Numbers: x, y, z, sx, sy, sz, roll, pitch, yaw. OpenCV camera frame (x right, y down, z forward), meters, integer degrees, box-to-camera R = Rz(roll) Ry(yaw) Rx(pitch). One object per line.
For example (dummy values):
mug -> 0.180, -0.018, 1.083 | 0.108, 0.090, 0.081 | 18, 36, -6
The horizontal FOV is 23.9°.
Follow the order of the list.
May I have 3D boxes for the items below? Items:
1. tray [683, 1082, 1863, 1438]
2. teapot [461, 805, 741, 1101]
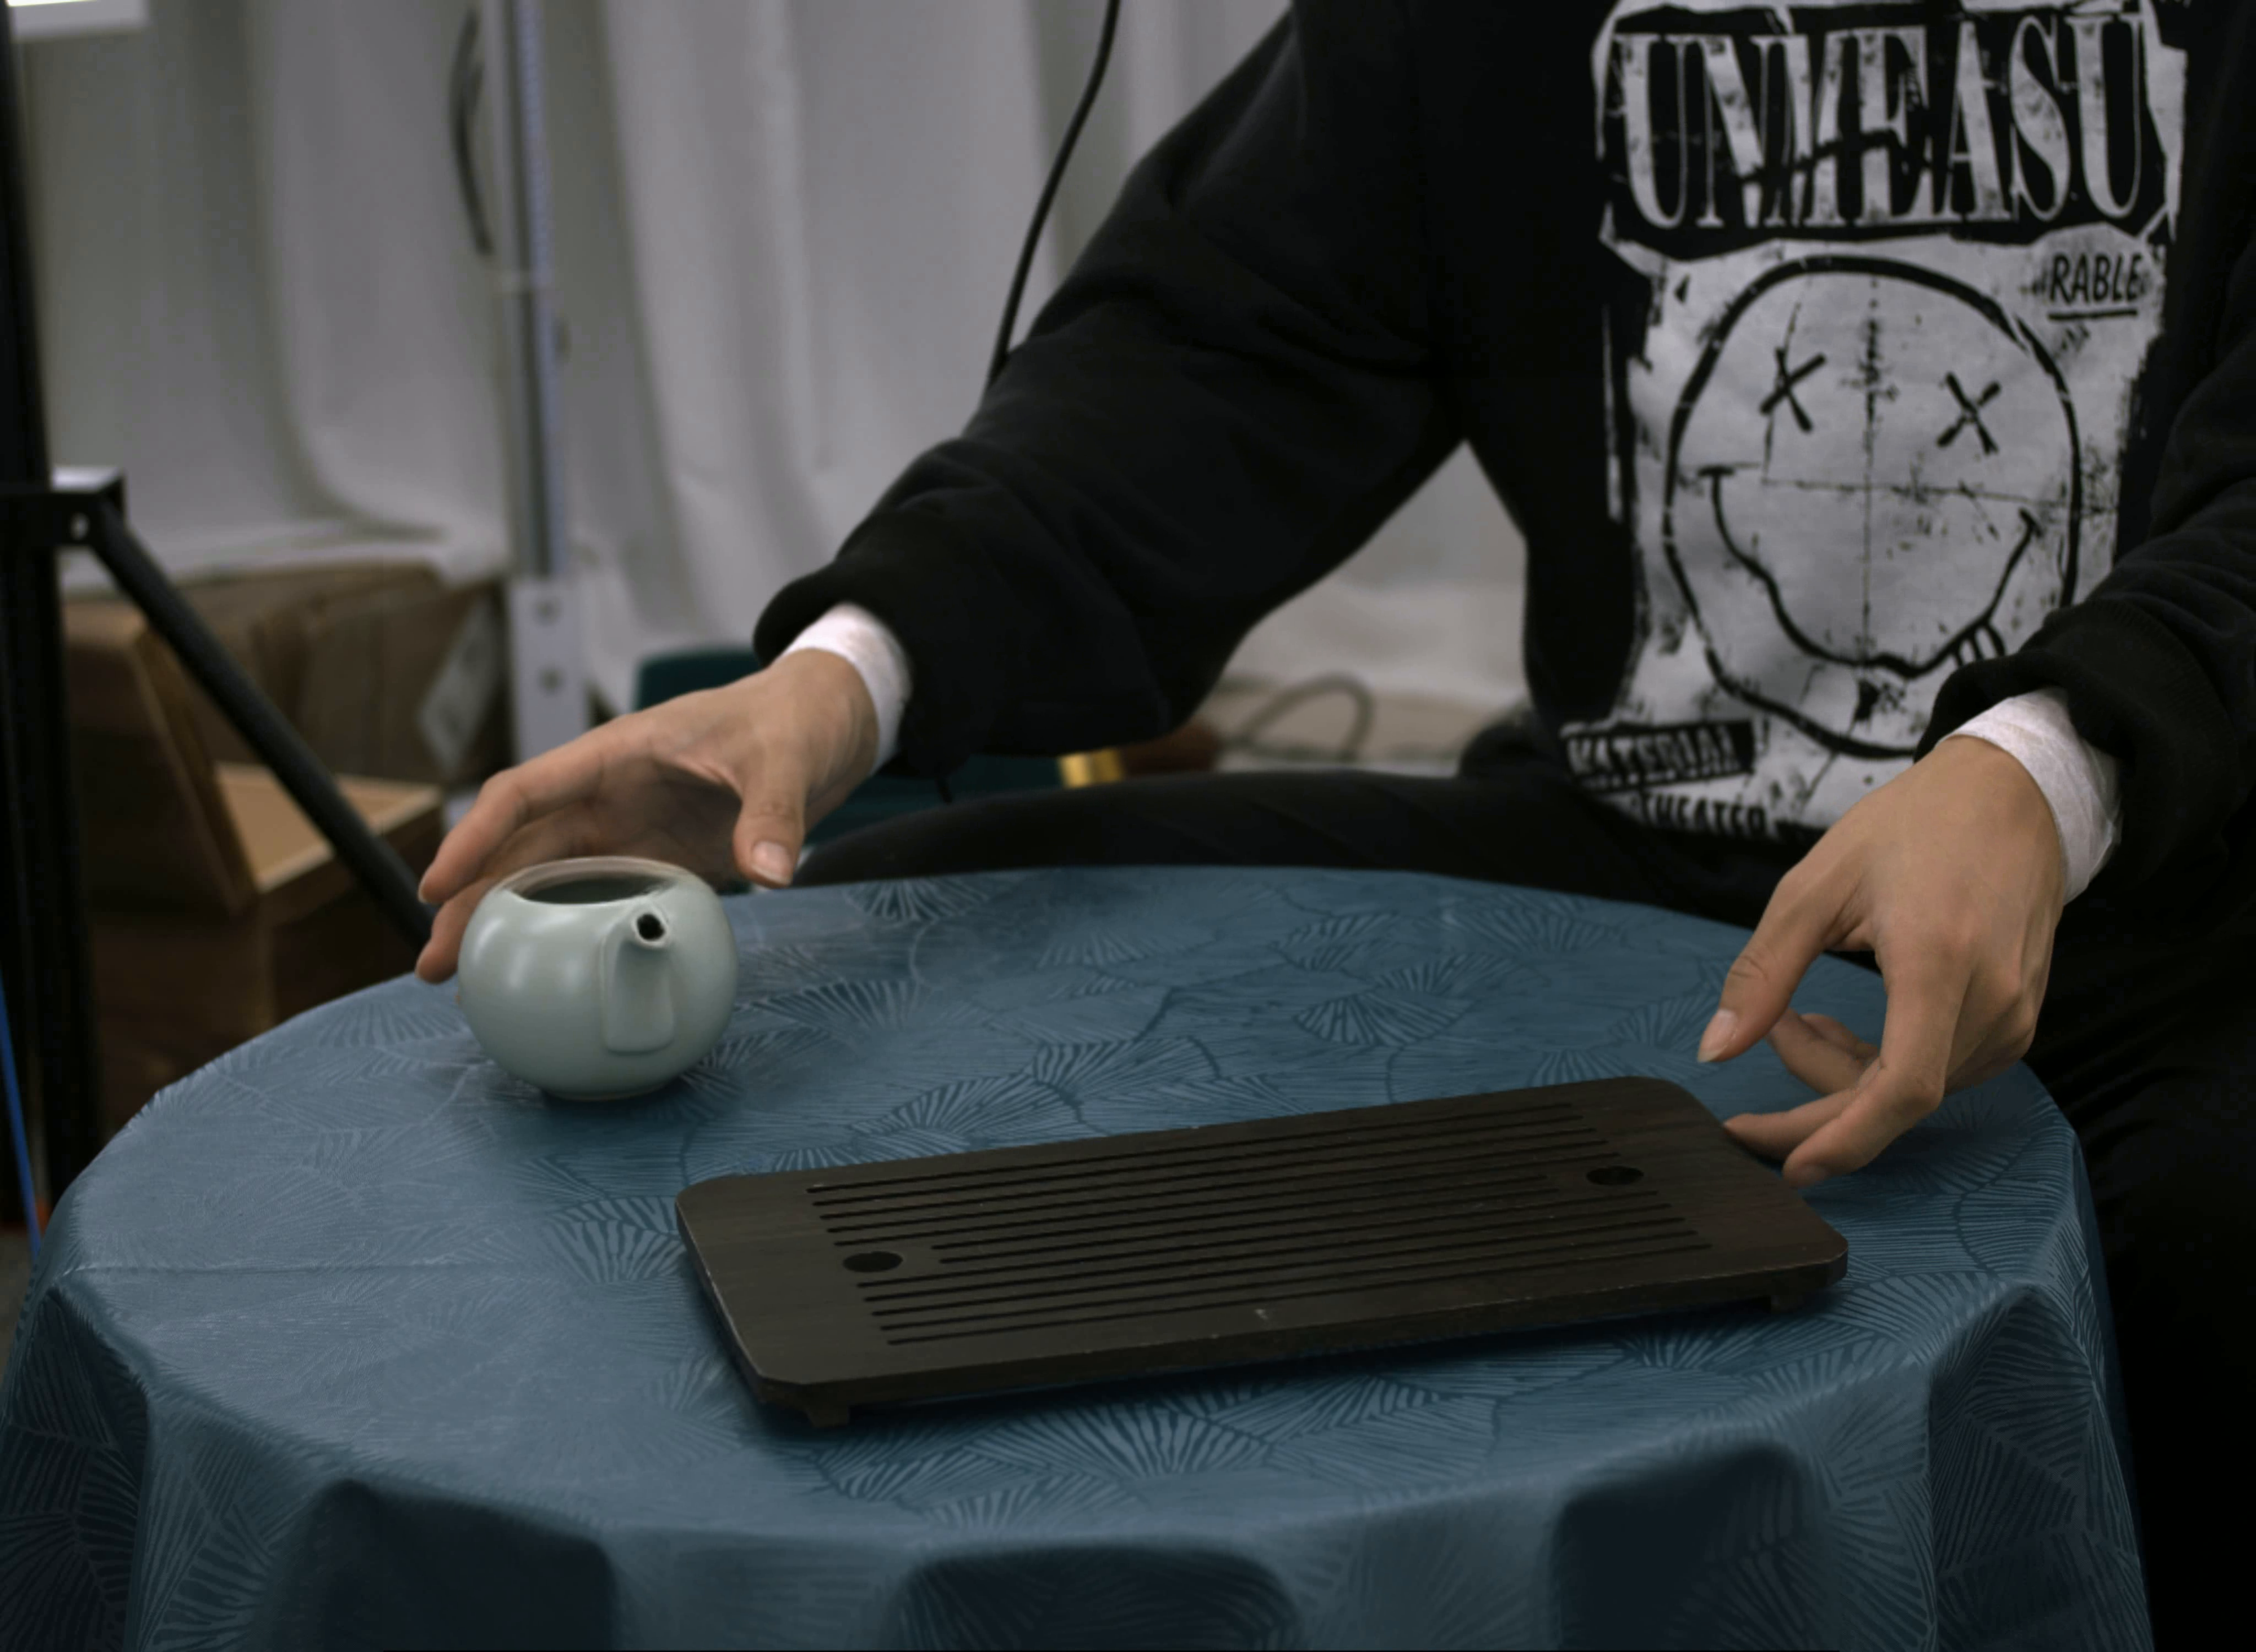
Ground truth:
tray -> 0.037, 0.119, 1.477 | 0.302, 0.018, 0.172 | -5, 16, -10
teapot -> -0.165, 0.045, 1.672 | 0.087, 0.075, 0.146 | -7, 18, -17
